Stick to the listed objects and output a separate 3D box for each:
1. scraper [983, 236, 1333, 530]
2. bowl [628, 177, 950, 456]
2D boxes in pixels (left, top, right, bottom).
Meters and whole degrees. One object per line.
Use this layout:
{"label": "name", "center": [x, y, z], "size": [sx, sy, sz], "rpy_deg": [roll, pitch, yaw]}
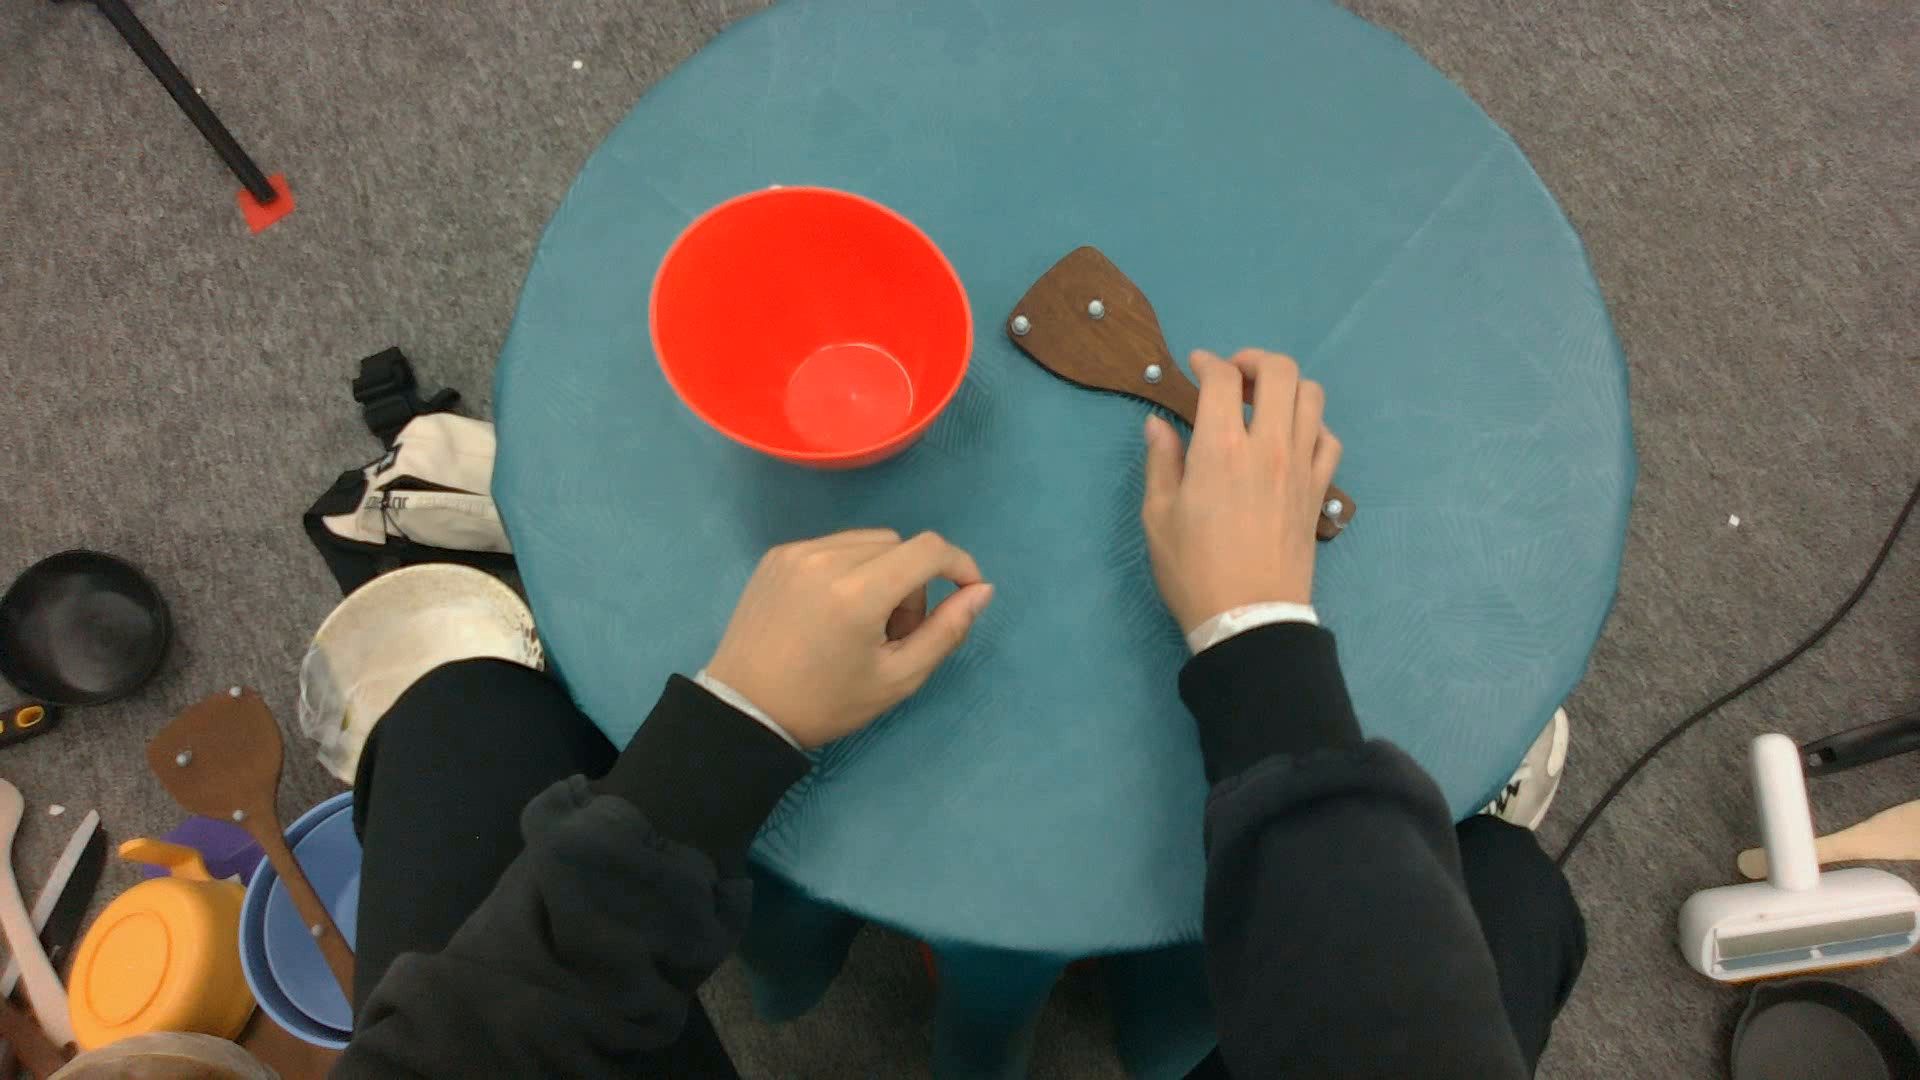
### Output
{"label": "scraper", "center": [0.108, -0.079, 0.728], "size": [0.211, 0.011, 0.076], "rpy_deg": [41, 74, 13]}
{"label": "bowl", "center": [-0.079, -0.096, 0.681], "size": [0.148, 0.104, 0.148], "rpy_deg": [0, 68, -1]}
